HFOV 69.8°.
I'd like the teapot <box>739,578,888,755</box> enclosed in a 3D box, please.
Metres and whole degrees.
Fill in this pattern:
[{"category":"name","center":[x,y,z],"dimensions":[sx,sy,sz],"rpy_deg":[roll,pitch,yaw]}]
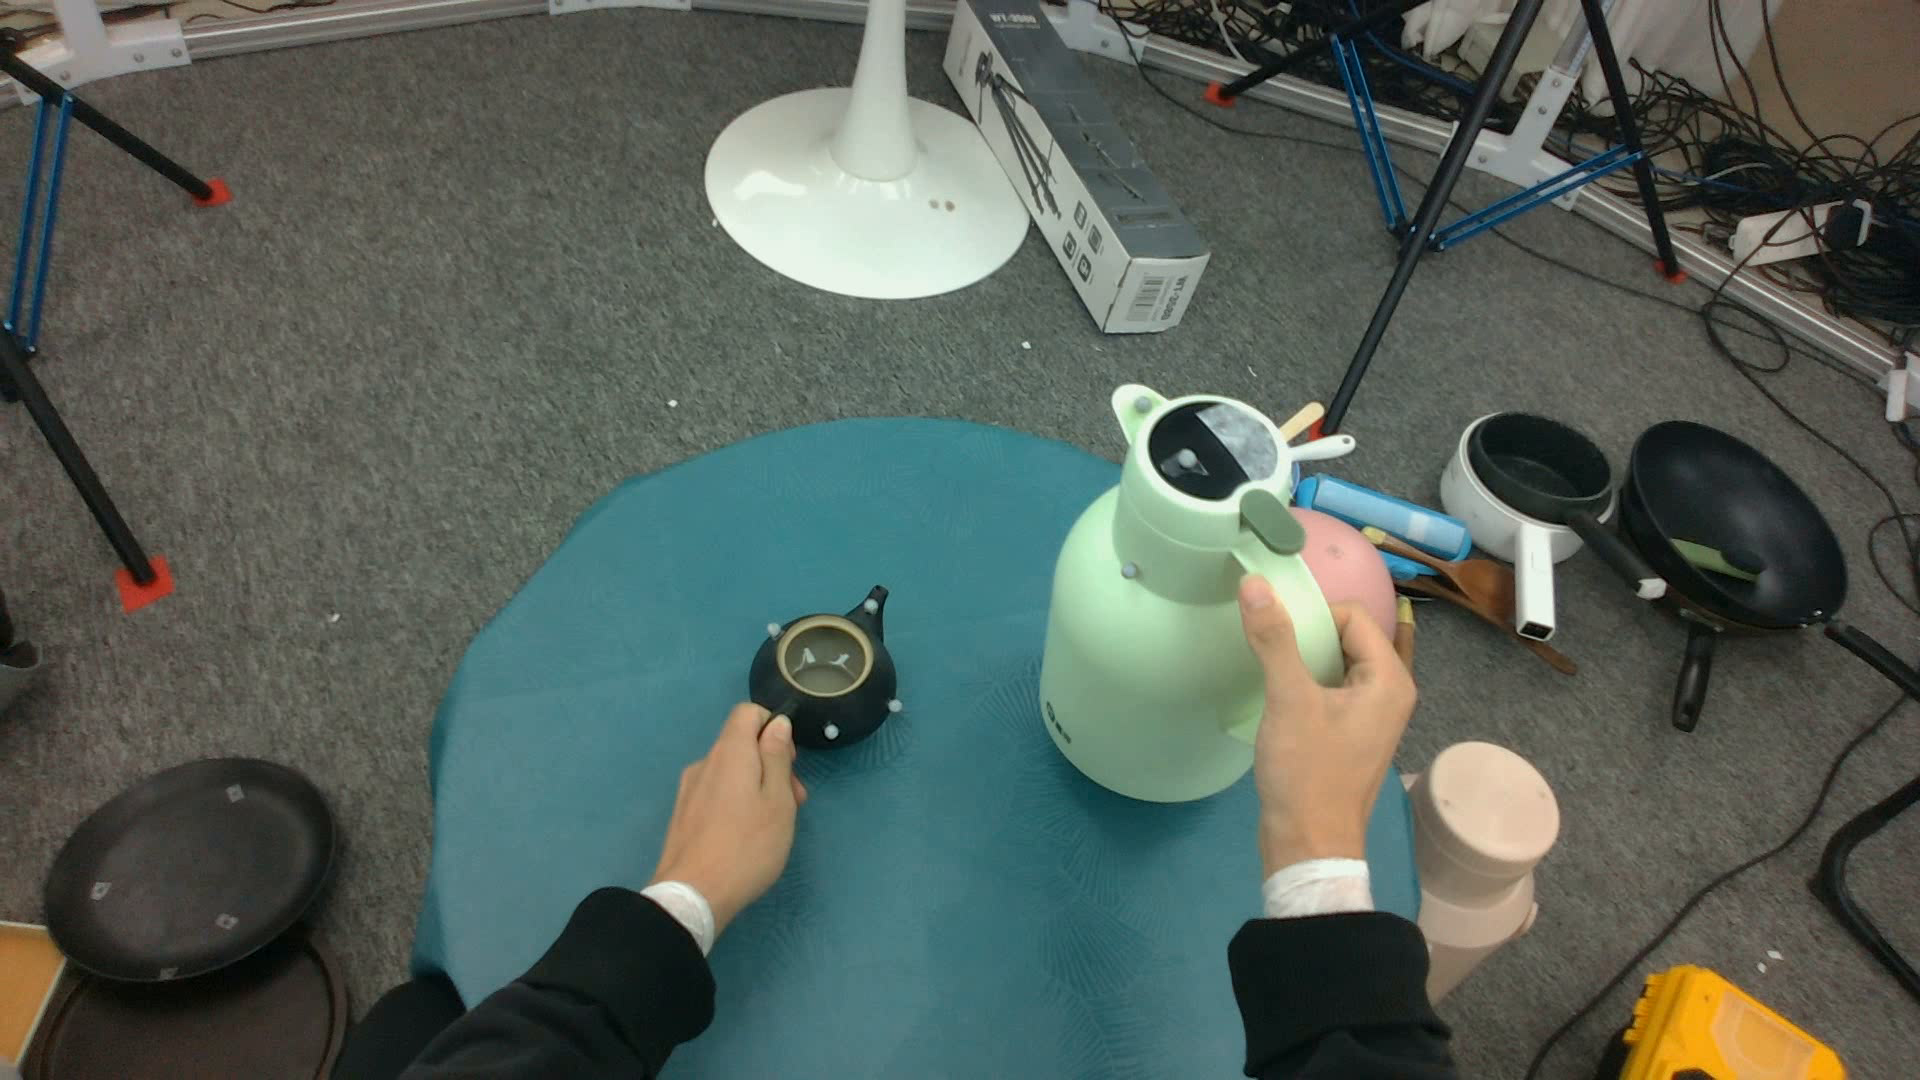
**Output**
[{"category":"teapot","center":[-0.089,0.081,0.841],"dimensions":[0.091,0.053,0.134],"rpy_deg":[26,50,13]}]

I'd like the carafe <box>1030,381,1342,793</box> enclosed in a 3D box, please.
[{"category":"carafe","center":[0.128,0.038,0.765],"dimensions":[0.144,0.255,0.187],"rpy_deg":[-25,61,-20]}]
